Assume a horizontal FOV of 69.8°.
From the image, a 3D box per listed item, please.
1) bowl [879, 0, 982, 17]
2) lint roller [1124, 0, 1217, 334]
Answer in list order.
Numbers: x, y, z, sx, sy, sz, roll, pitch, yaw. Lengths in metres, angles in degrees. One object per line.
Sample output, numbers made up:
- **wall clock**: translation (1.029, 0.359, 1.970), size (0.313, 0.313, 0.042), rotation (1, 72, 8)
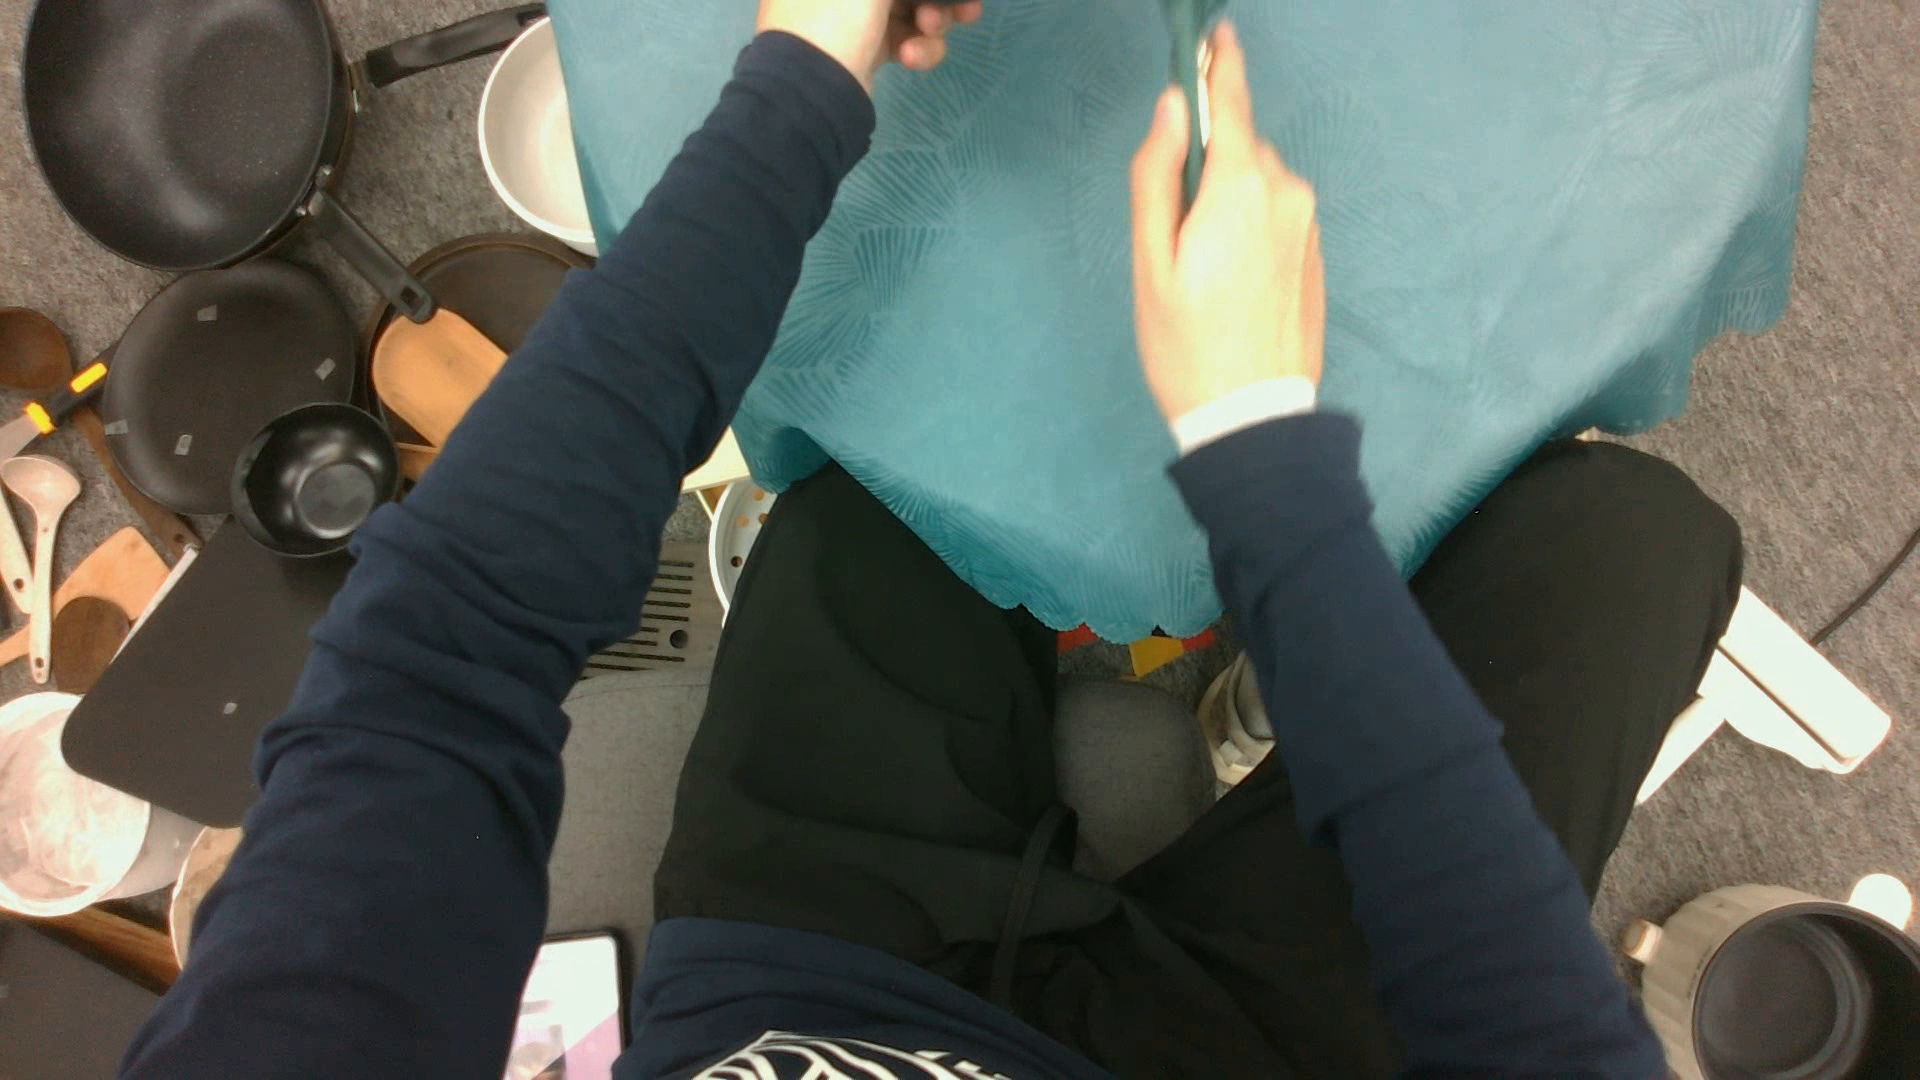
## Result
- **bowl**: translation (0.022, -0.282, 0.556), size (0.067, 0.137, 0.170), rotation (24, 75, -31)
- **lint roller**: translation (0.088, -0.174, 0.537), size (0.048, 0.135, 0.180), rotation (-12, 92, 23)
